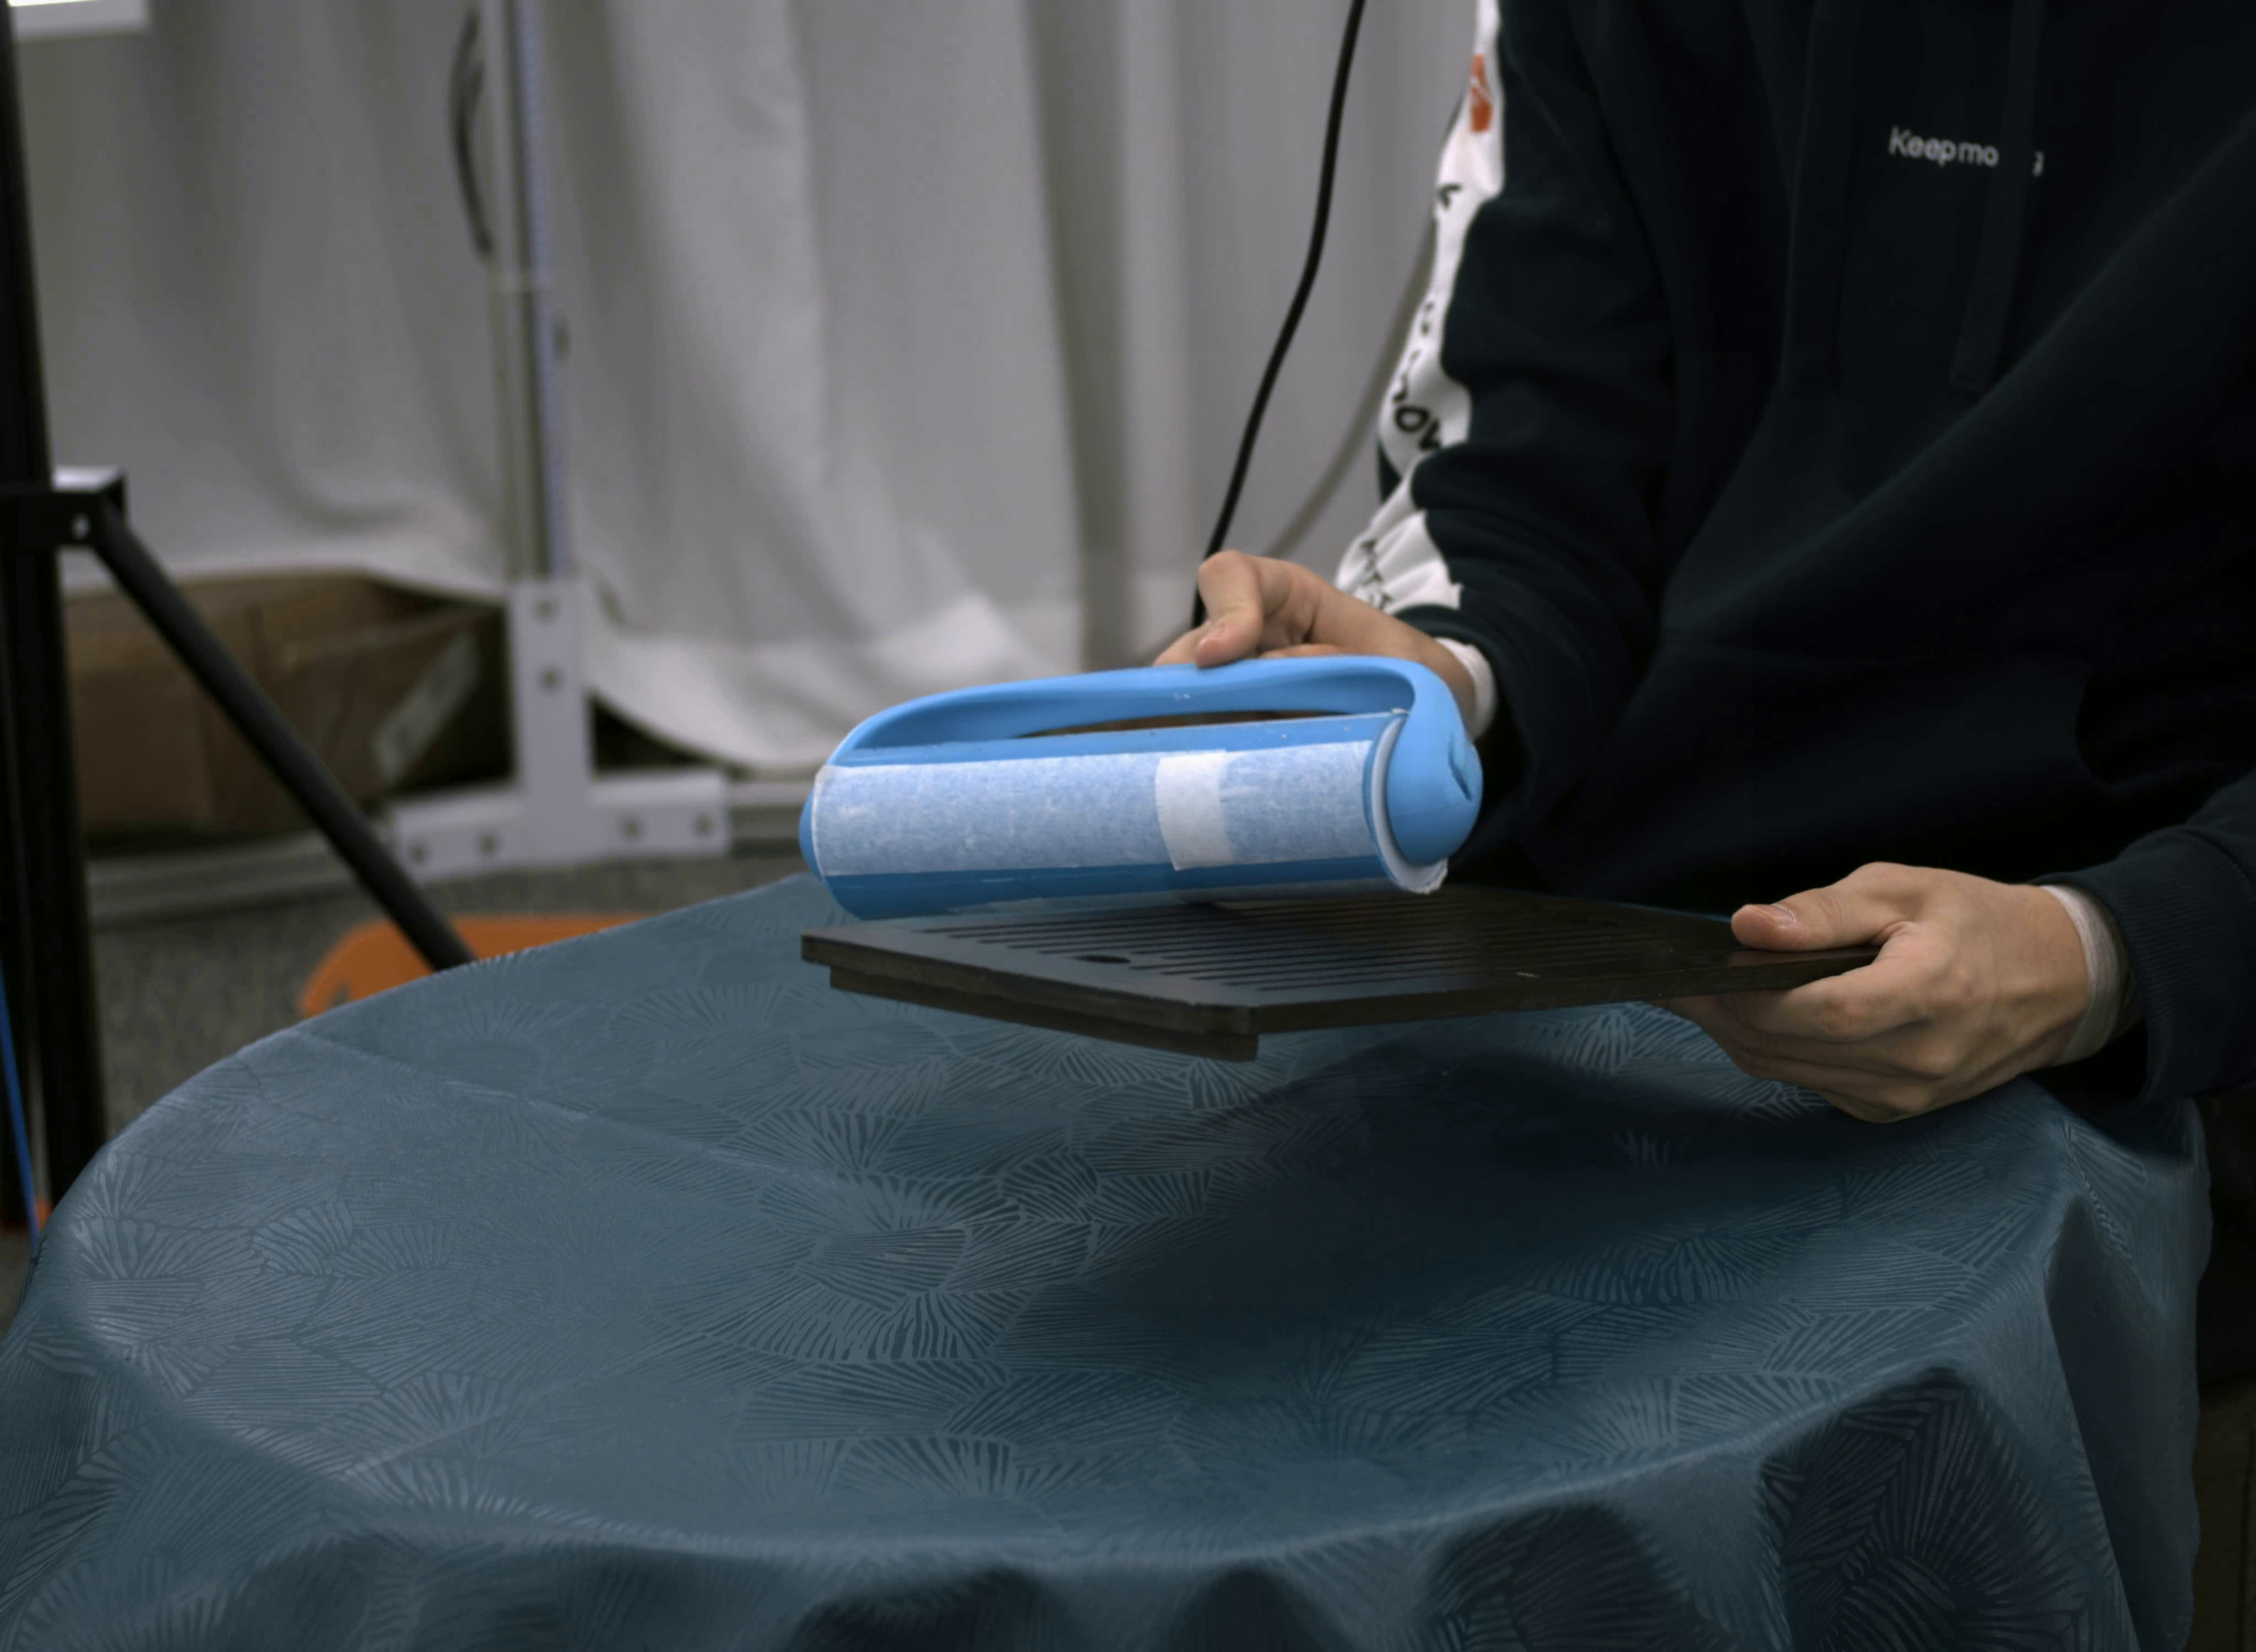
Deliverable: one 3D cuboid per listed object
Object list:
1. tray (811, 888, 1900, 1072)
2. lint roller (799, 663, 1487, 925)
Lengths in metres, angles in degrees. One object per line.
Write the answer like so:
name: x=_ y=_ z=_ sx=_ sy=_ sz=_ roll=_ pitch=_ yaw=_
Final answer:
tray: x=0.070 y=0.042 z=1.512 sx=0.174 sy=0.019 sz=0.298 roll=8 pitch=8 yaw=44
lint roller: x=0.026 y=-0.018 z=1.649 sx=0.232 sy=0.068 sz=0.177 roll=-6 pitch=13 yaw=28
